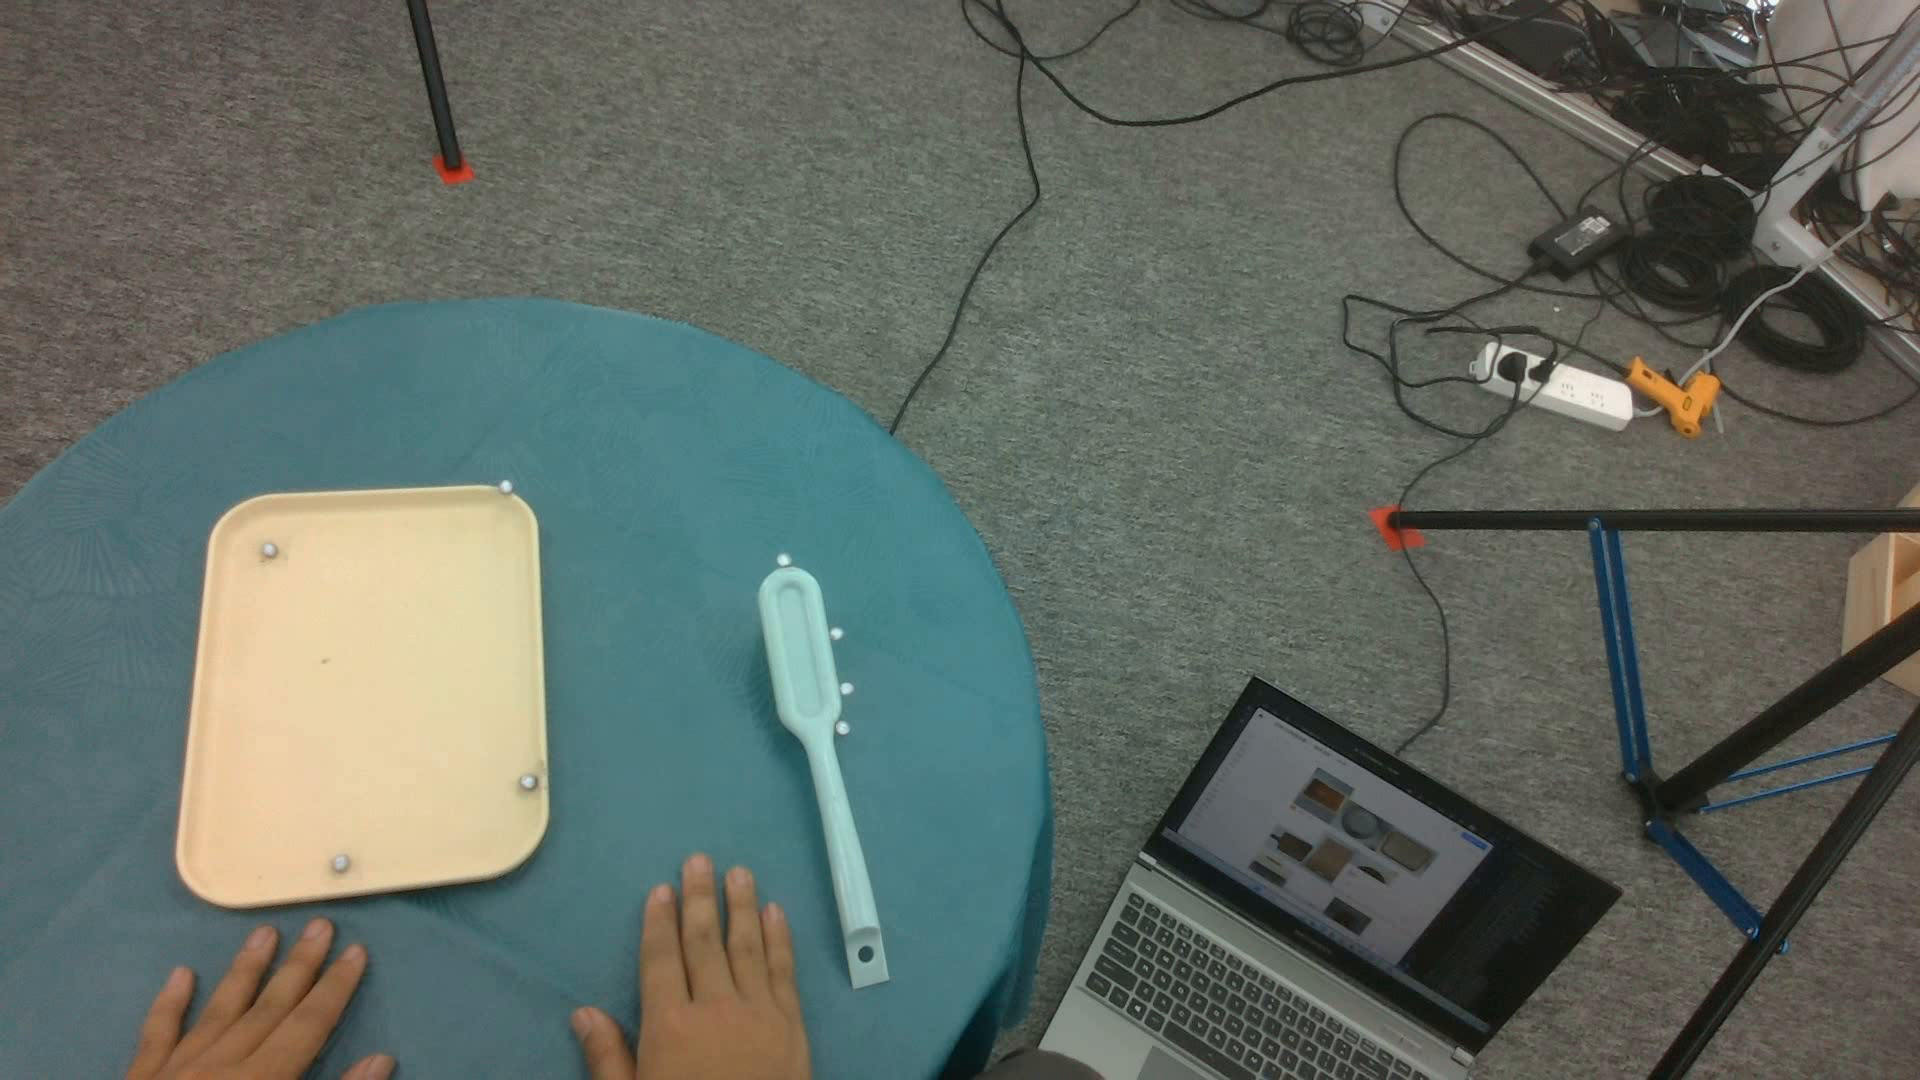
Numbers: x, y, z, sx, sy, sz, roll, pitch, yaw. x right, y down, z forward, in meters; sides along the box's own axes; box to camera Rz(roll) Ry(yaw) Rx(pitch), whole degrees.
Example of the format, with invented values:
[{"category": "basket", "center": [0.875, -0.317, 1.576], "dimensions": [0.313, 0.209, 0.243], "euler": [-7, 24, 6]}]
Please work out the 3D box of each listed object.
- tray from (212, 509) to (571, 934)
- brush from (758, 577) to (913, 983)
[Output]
[{"category": "tray", "center": [-0.307, 0.089, 0.747], "dimensions": [0.171, 0.017, 0.240], "euler": [-6, 57, -15]}, {"category": "brush", "center": [-0.067, 0.129, 0.761], "dimensions": [0.038, 0.049, 0.229], "euler": [-15, 68, -13]}]
